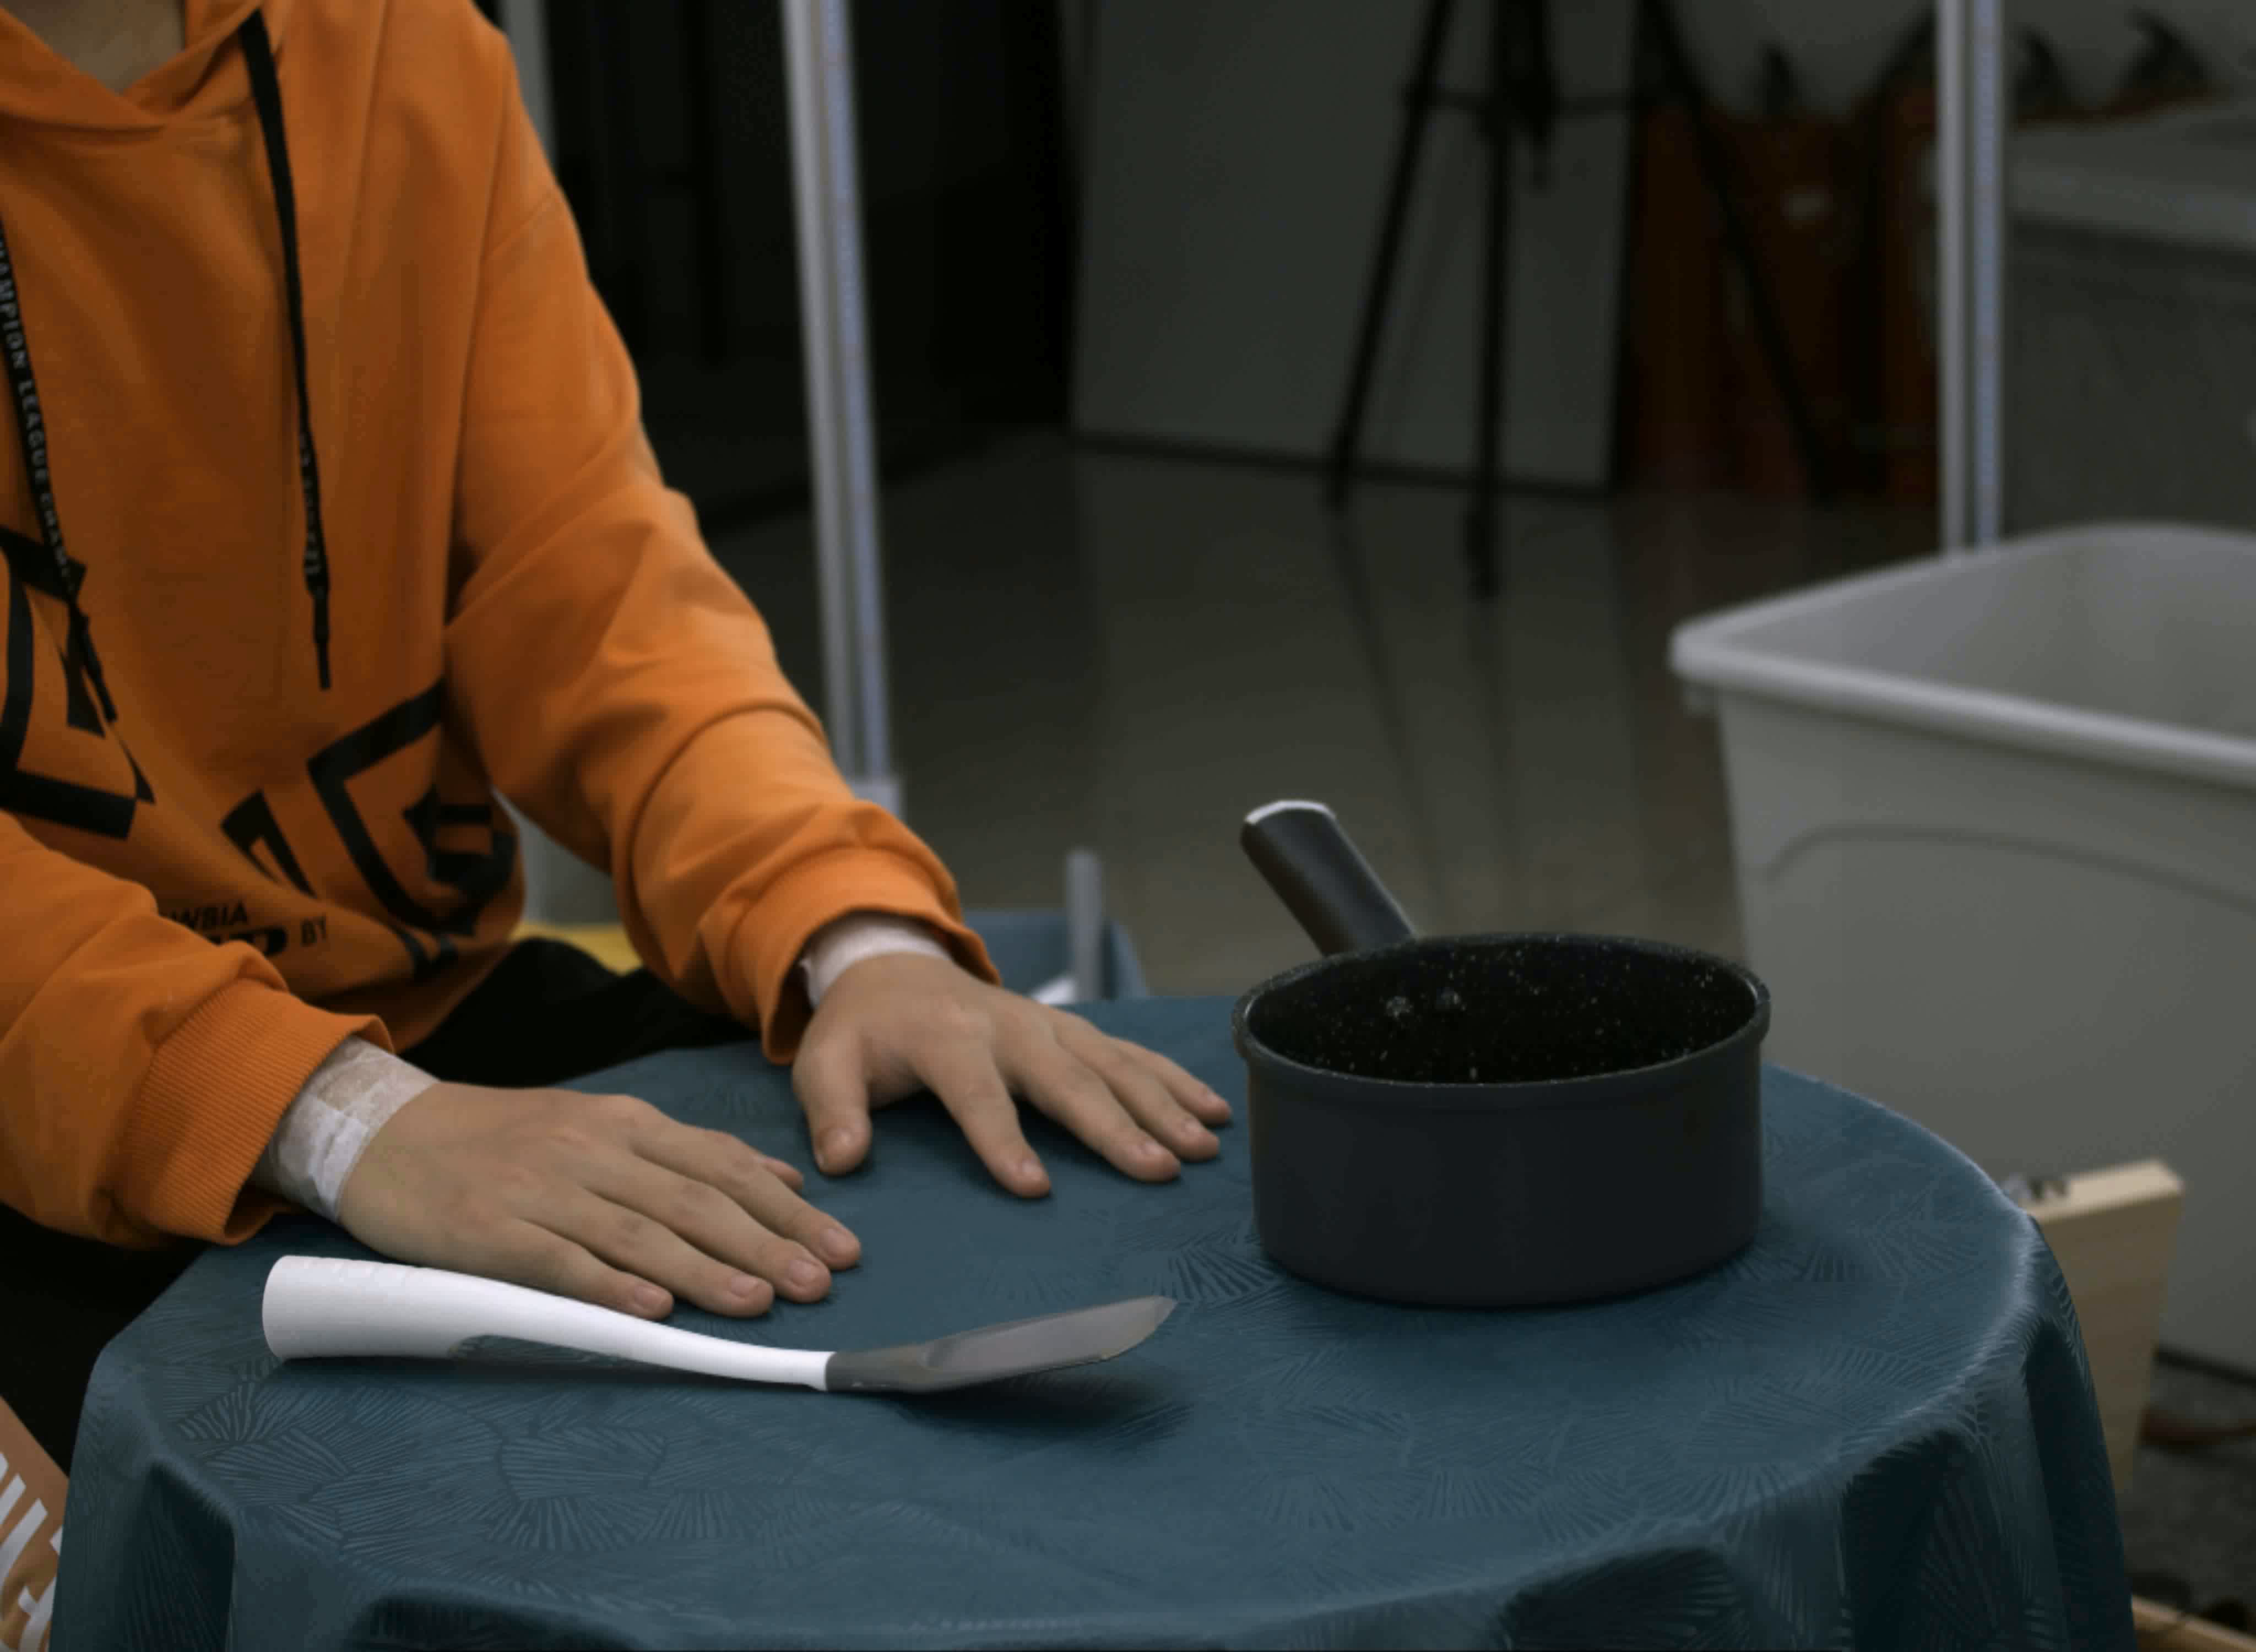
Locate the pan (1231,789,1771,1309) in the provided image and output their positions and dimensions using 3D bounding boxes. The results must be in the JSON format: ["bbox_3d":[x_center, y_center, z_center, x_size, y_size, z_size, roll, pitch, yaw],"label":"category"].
[{"bbox_3d":[0.102,0.069,1.771,0.169,0.087,0.331,-6,15,-11],"label":"pan"}]

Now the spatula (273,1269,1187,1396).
[{"bbox_3d":[-0.121,0.152,1.614,0.287,0.032,0.058,0,9,20],"label":"spatula"}]
